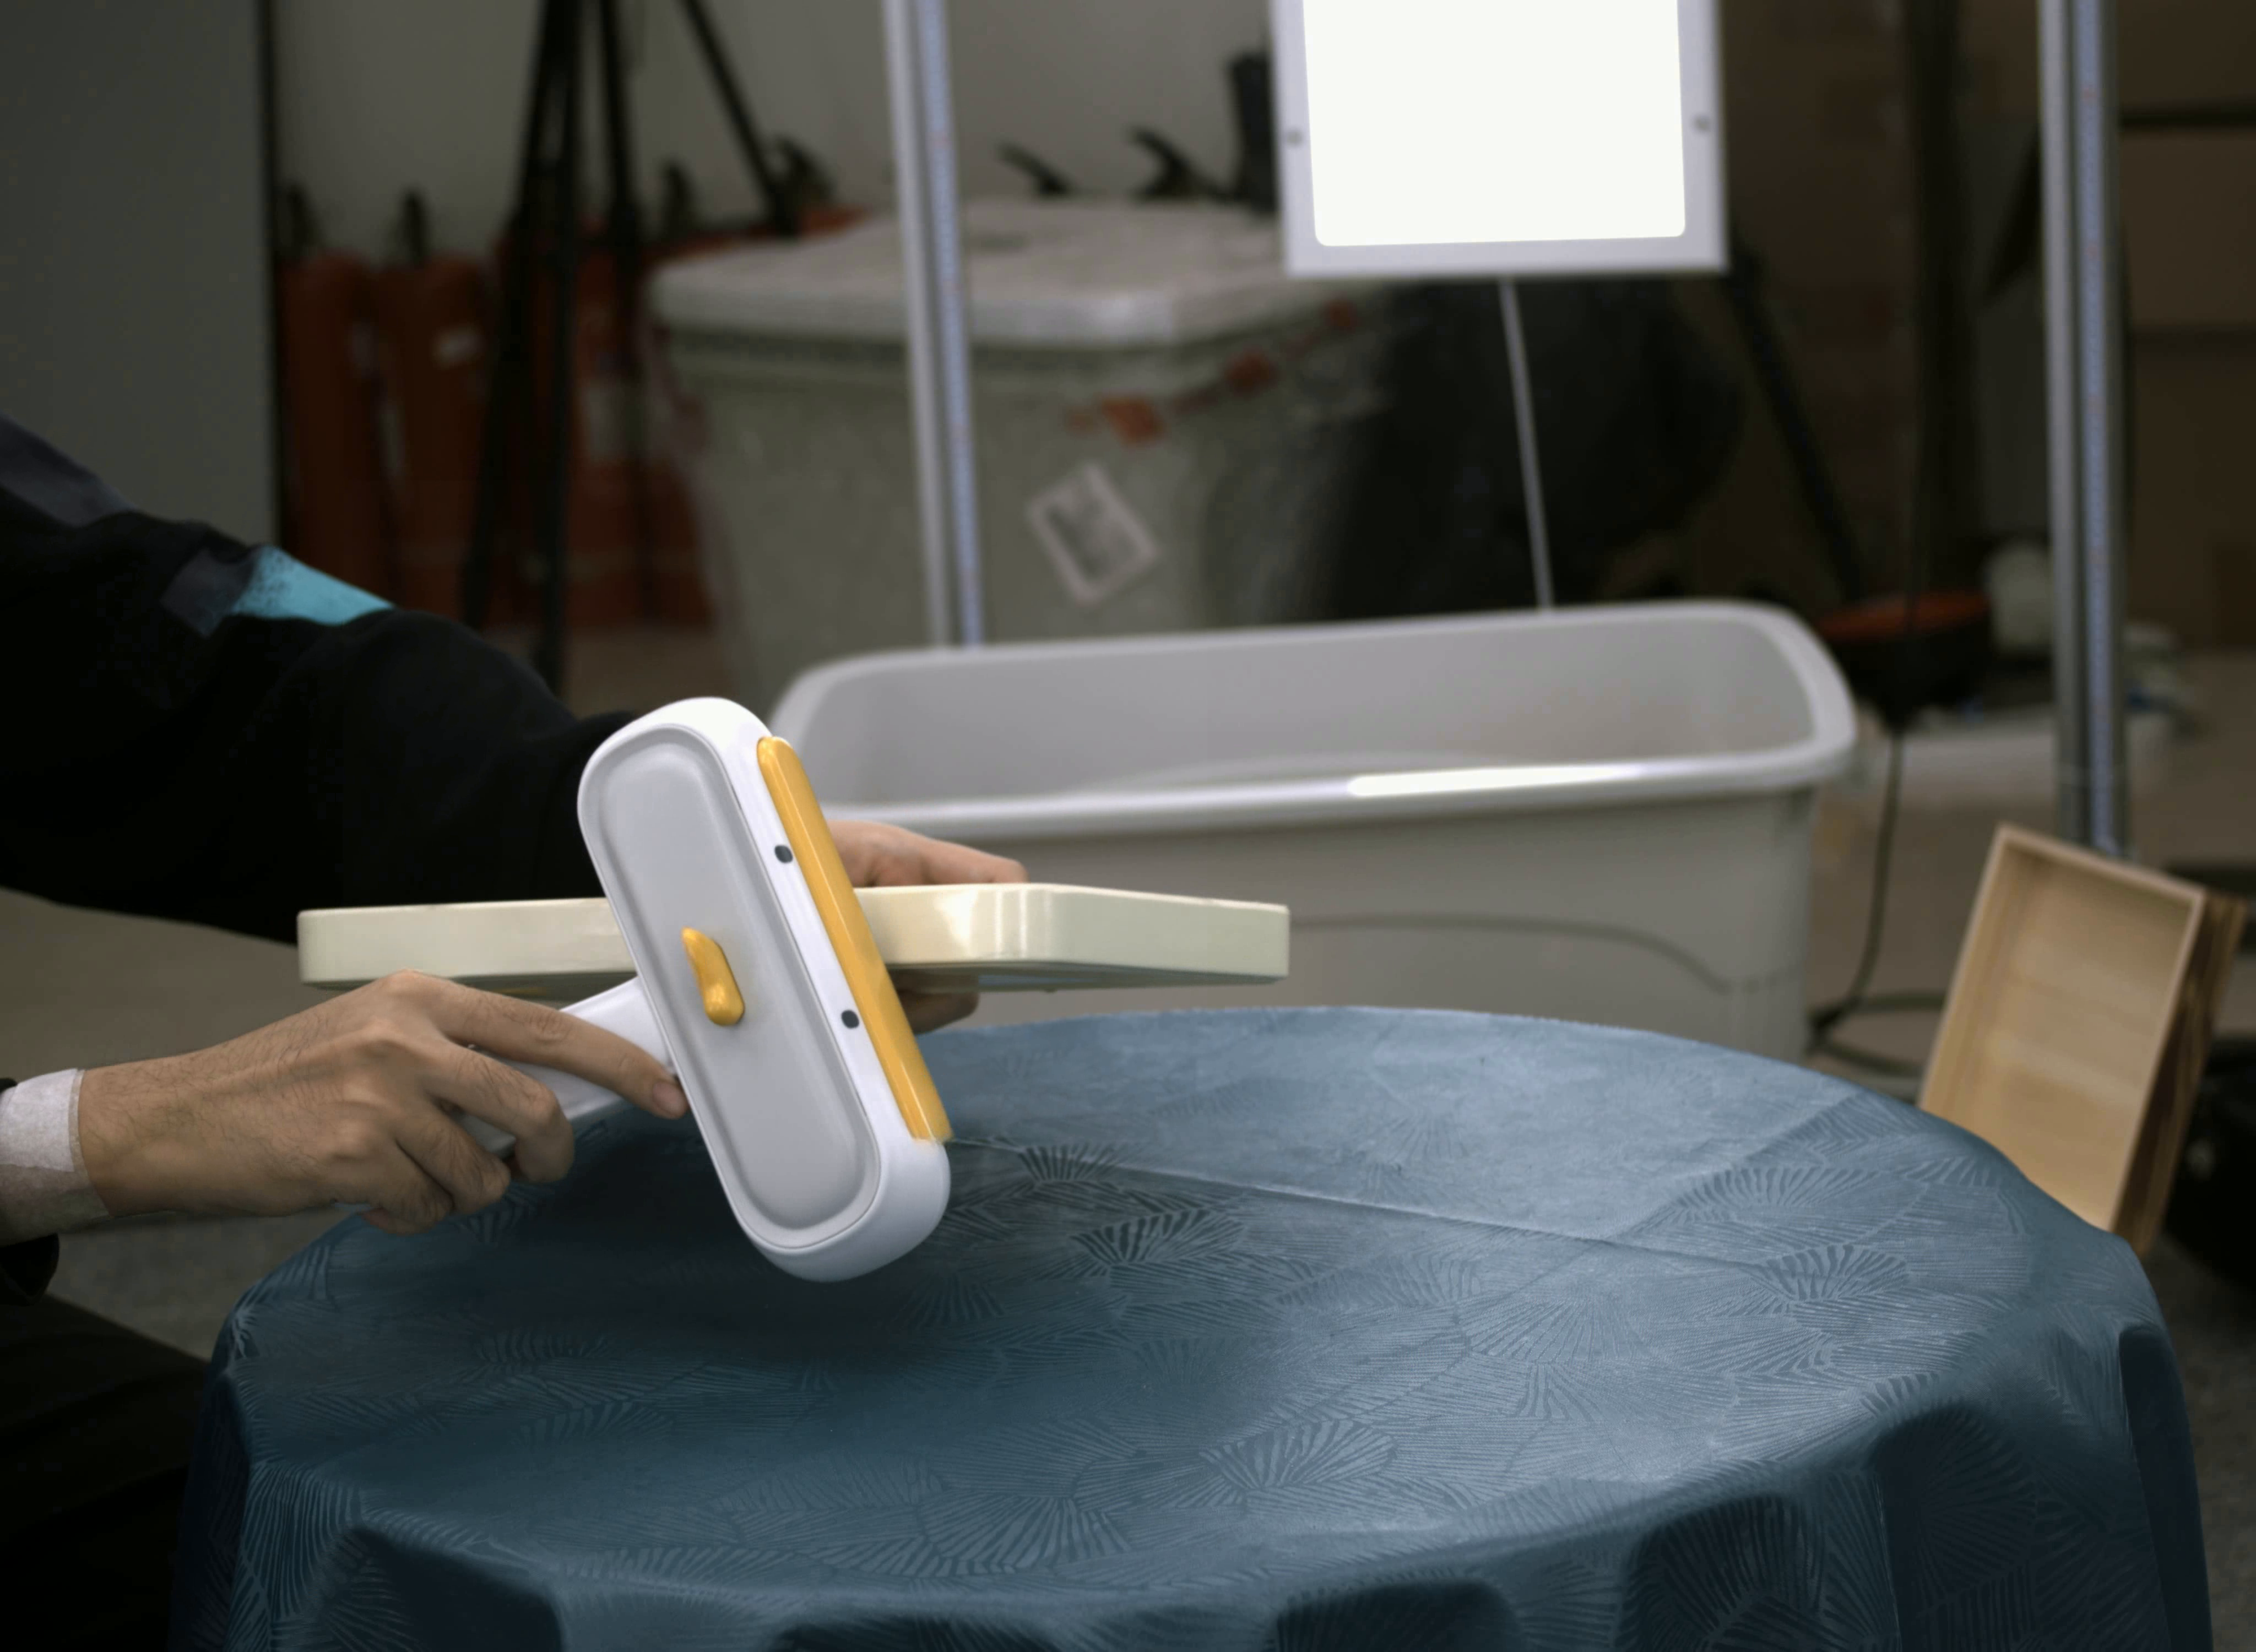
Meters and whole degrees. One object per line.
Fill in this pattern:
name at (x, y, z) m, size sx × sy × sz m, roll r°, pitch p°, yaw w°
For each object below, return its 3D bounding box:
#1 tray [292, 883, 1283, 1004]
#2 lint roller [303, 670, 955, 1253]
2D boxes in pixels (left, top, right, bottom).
tray at (-0.116, 0.042, 1.880) m, size 0.306 × 0.027 × 0.187 m, roll -3°, pitch -5°, yaw 32°
lint roller at (-0.170, 0.071, 1.745) m, size 0.194 × 0.193 × 0.073 m, roll -30°, pitch -9°, yaw 12°
